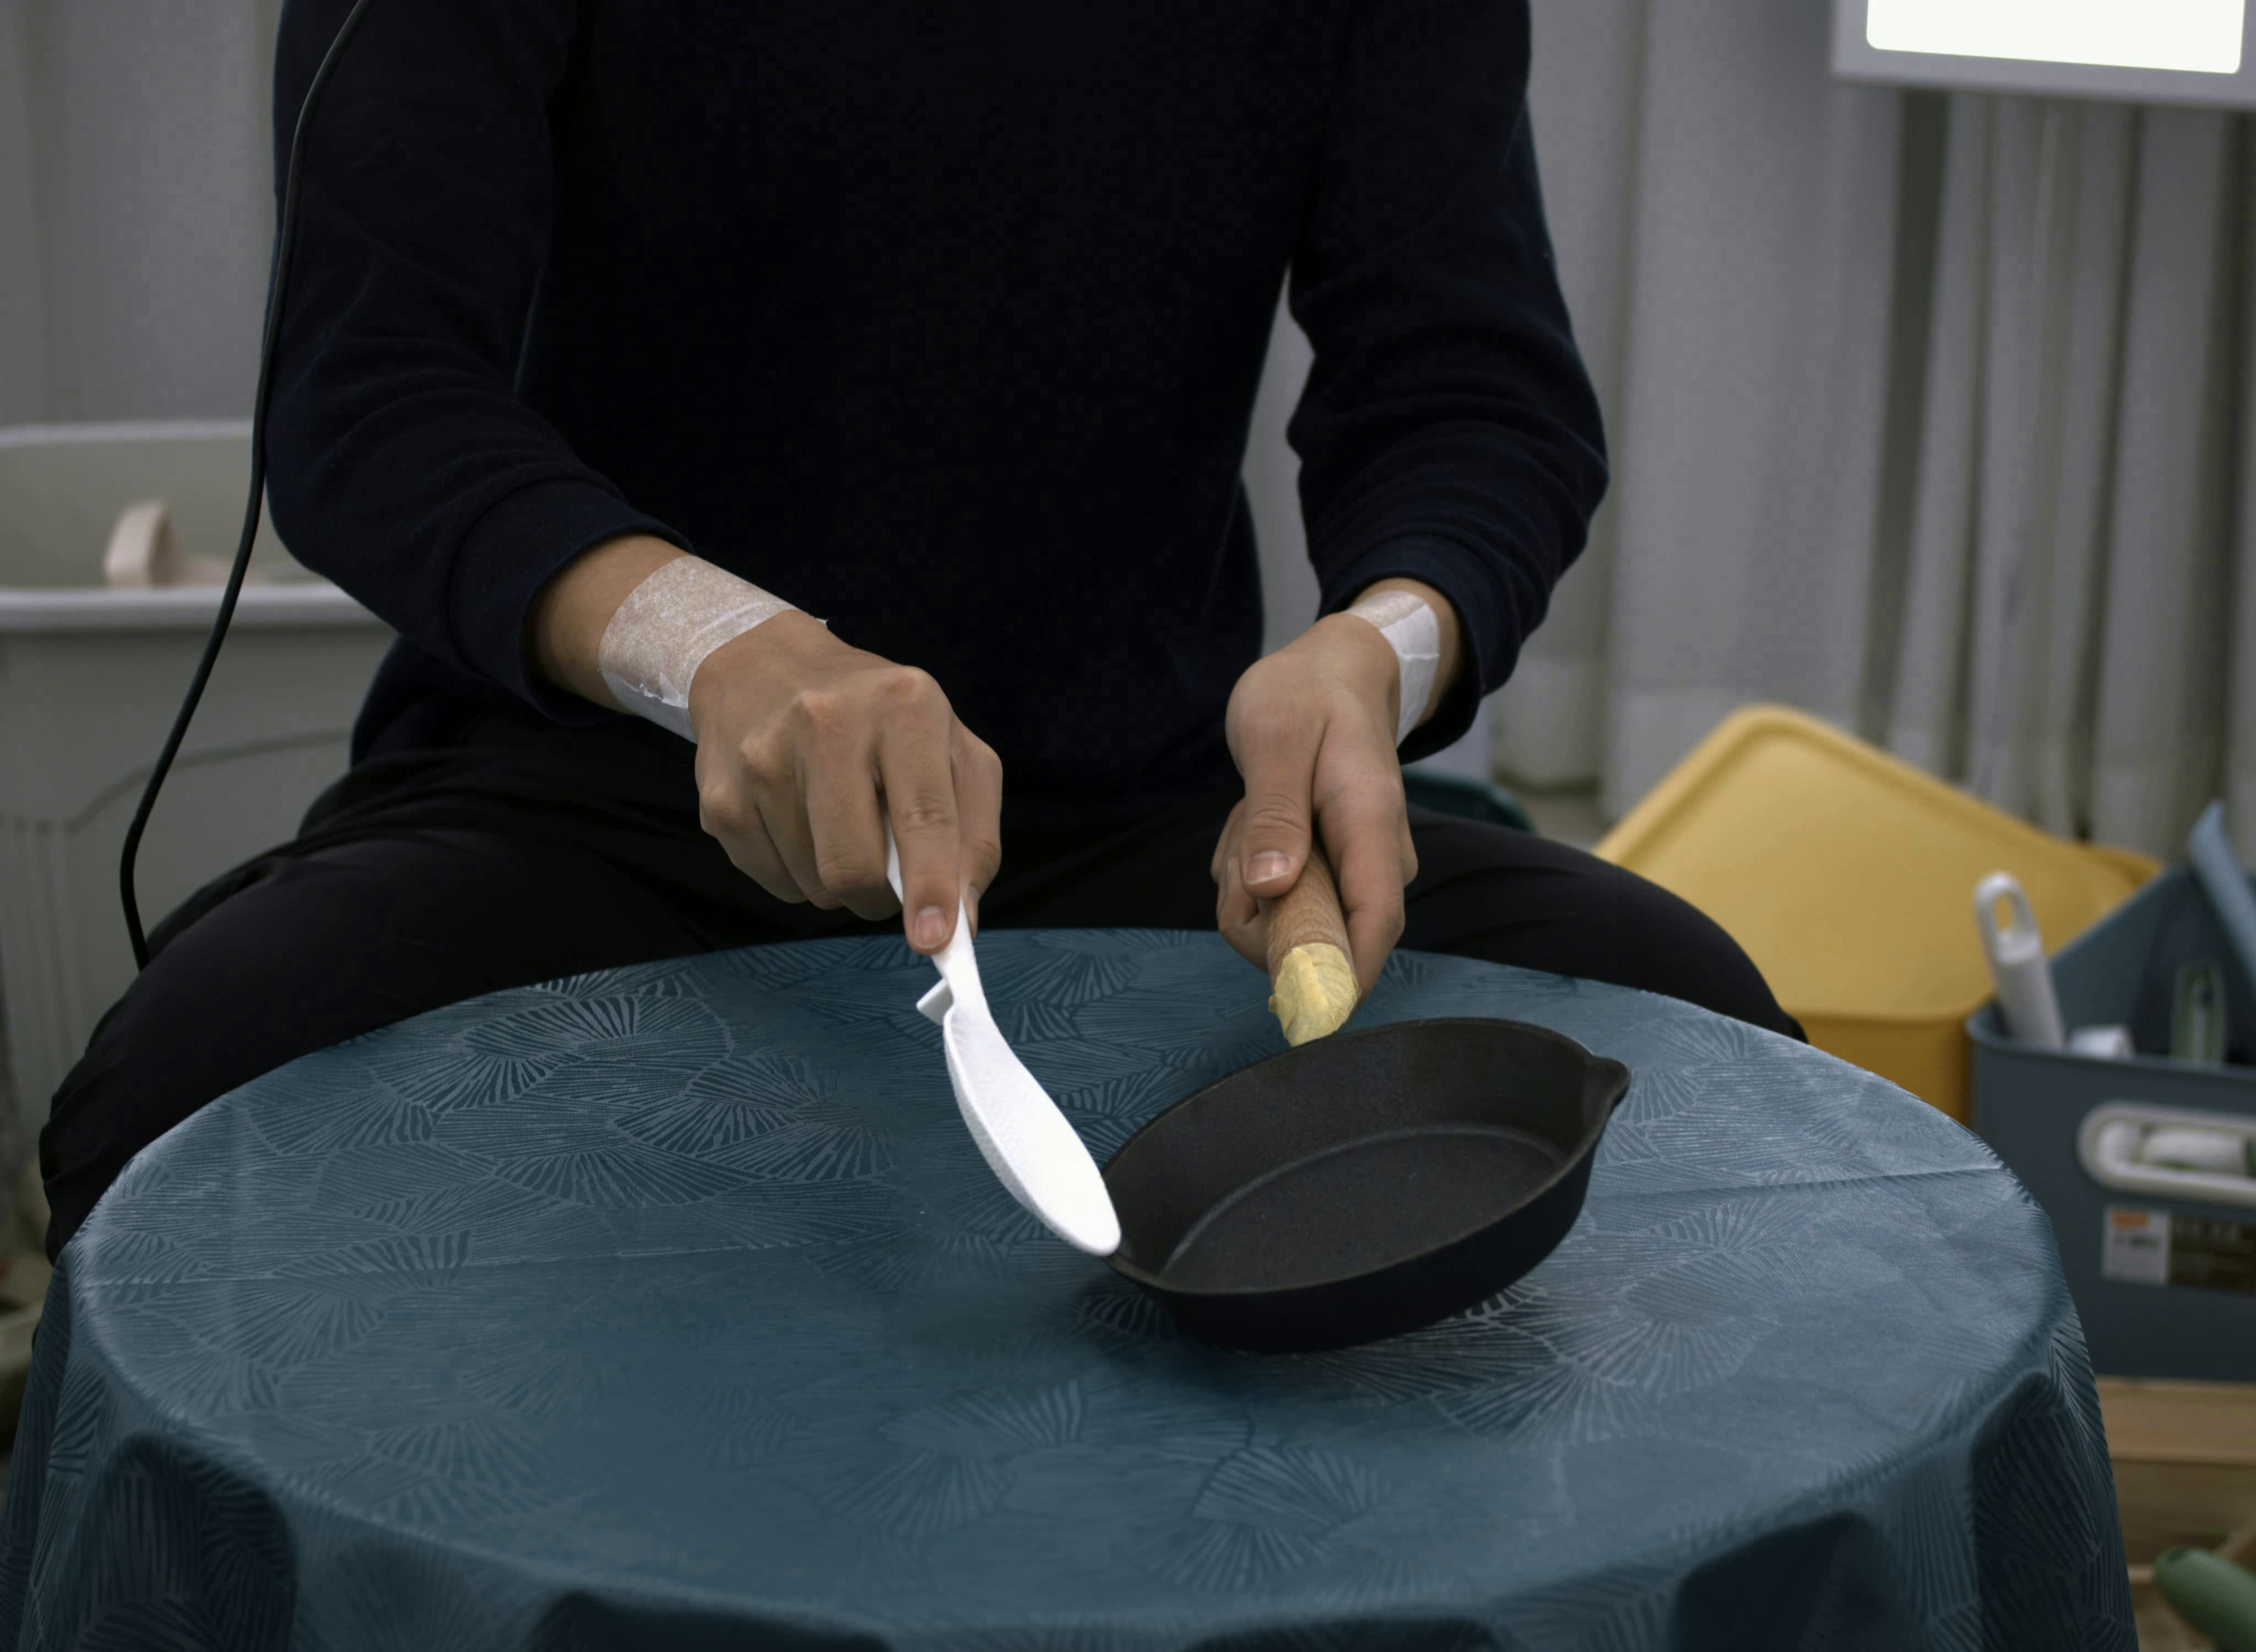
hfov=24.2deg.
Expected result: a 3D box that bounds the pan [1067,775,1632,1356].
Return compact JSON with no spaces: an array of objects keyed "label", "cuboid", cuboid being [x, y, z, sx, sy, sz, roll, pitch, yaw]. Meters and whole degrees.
[{"label":"pan","cuboid":[0.064,0.067,1.596,0.168,0.050,0.321,-14,23,5]}]

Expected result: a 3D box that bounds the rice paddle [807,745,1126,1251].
[{"label":"rice paddle","cuboid":[-0.047,0.051,1.546,0.069,0.029,0.202,36,17,-45]}]
